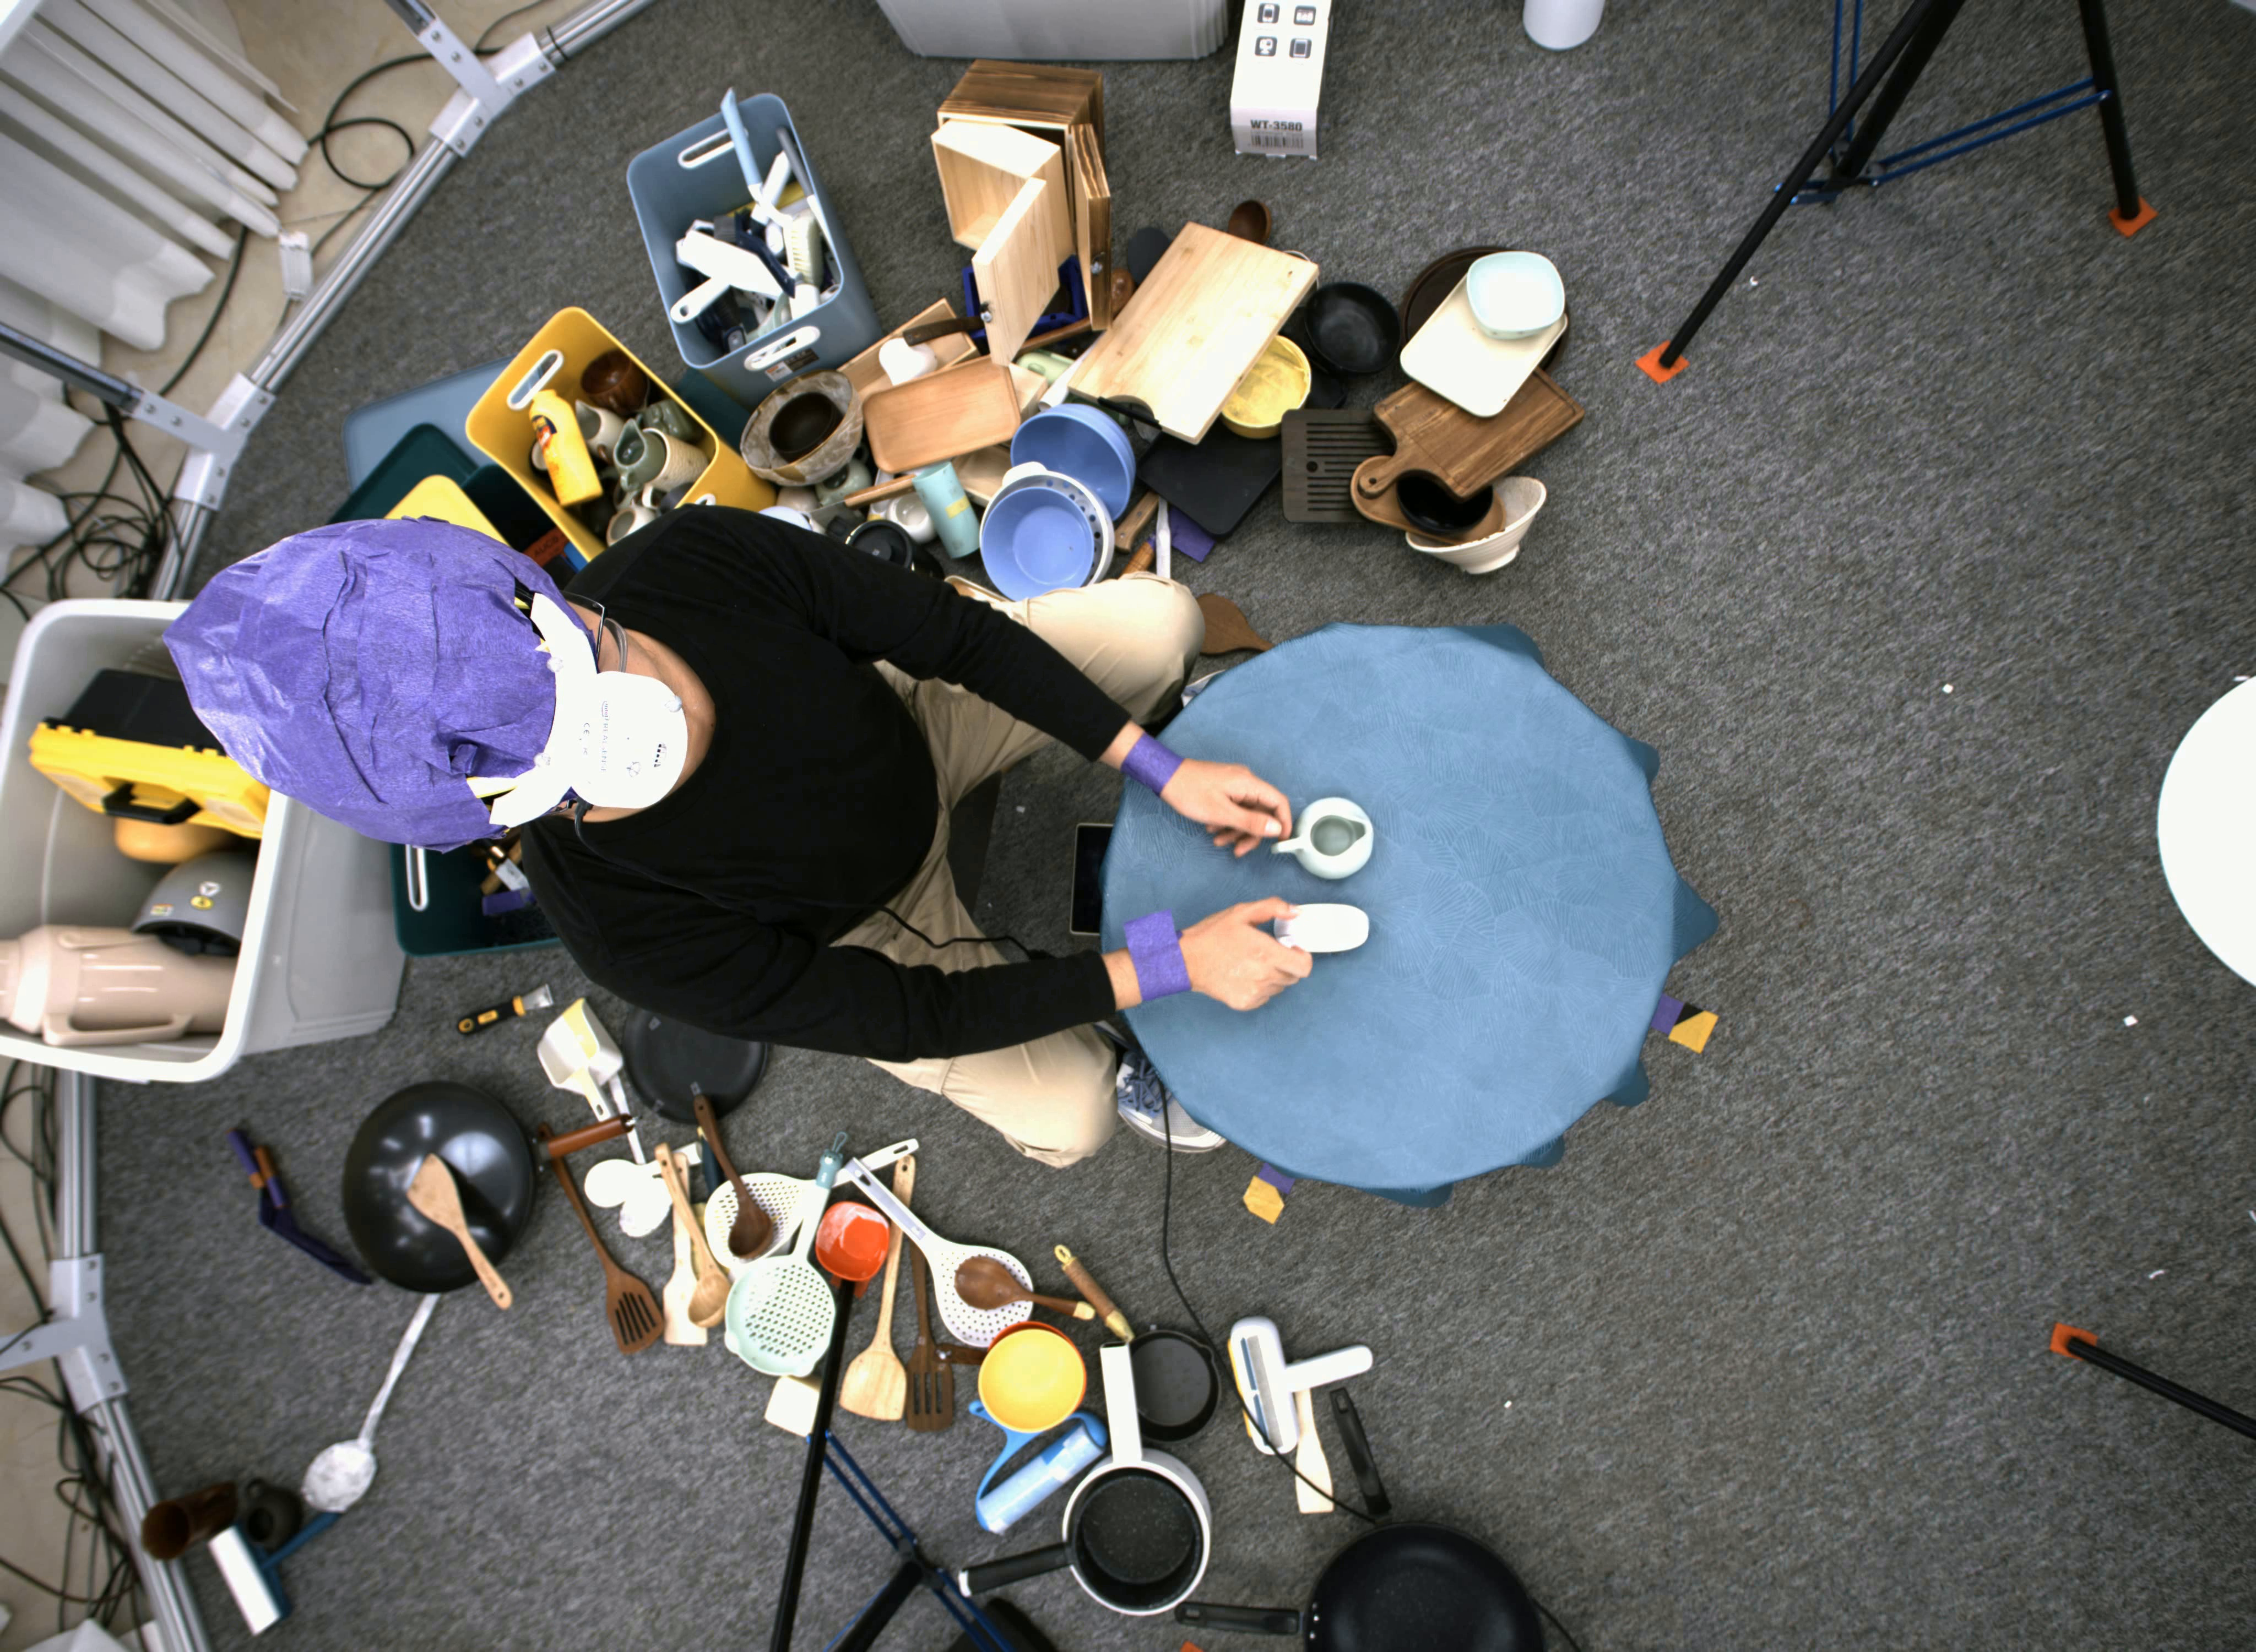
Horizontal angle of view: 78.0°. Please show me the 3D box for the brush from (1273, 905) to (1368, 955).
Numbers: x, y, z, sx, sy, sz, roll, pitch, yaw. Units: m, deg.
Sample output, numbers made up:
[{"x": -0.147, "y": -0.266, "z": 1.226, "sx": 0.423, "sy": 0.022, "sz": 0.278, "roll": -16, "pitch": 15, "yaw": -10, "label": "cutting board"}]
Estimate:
[{"x": 0.199, "y": 0.105, "z": 1.432, "sx": 0.099, "sy": 0.073, "sz": 0.050, "roll": 1, "pitch": 83, "yaw": 9, "label": "brush"}]

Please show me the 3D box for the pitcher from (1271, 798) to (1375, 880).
[{"x": 0.203, "y": 0.015, "z": 1.447, "sx": 0.109, "sy": 0.060, "sz": 0.085, "roll": -15, "pitch": 83, "yaw": 12, "label": "pitcher"}]
